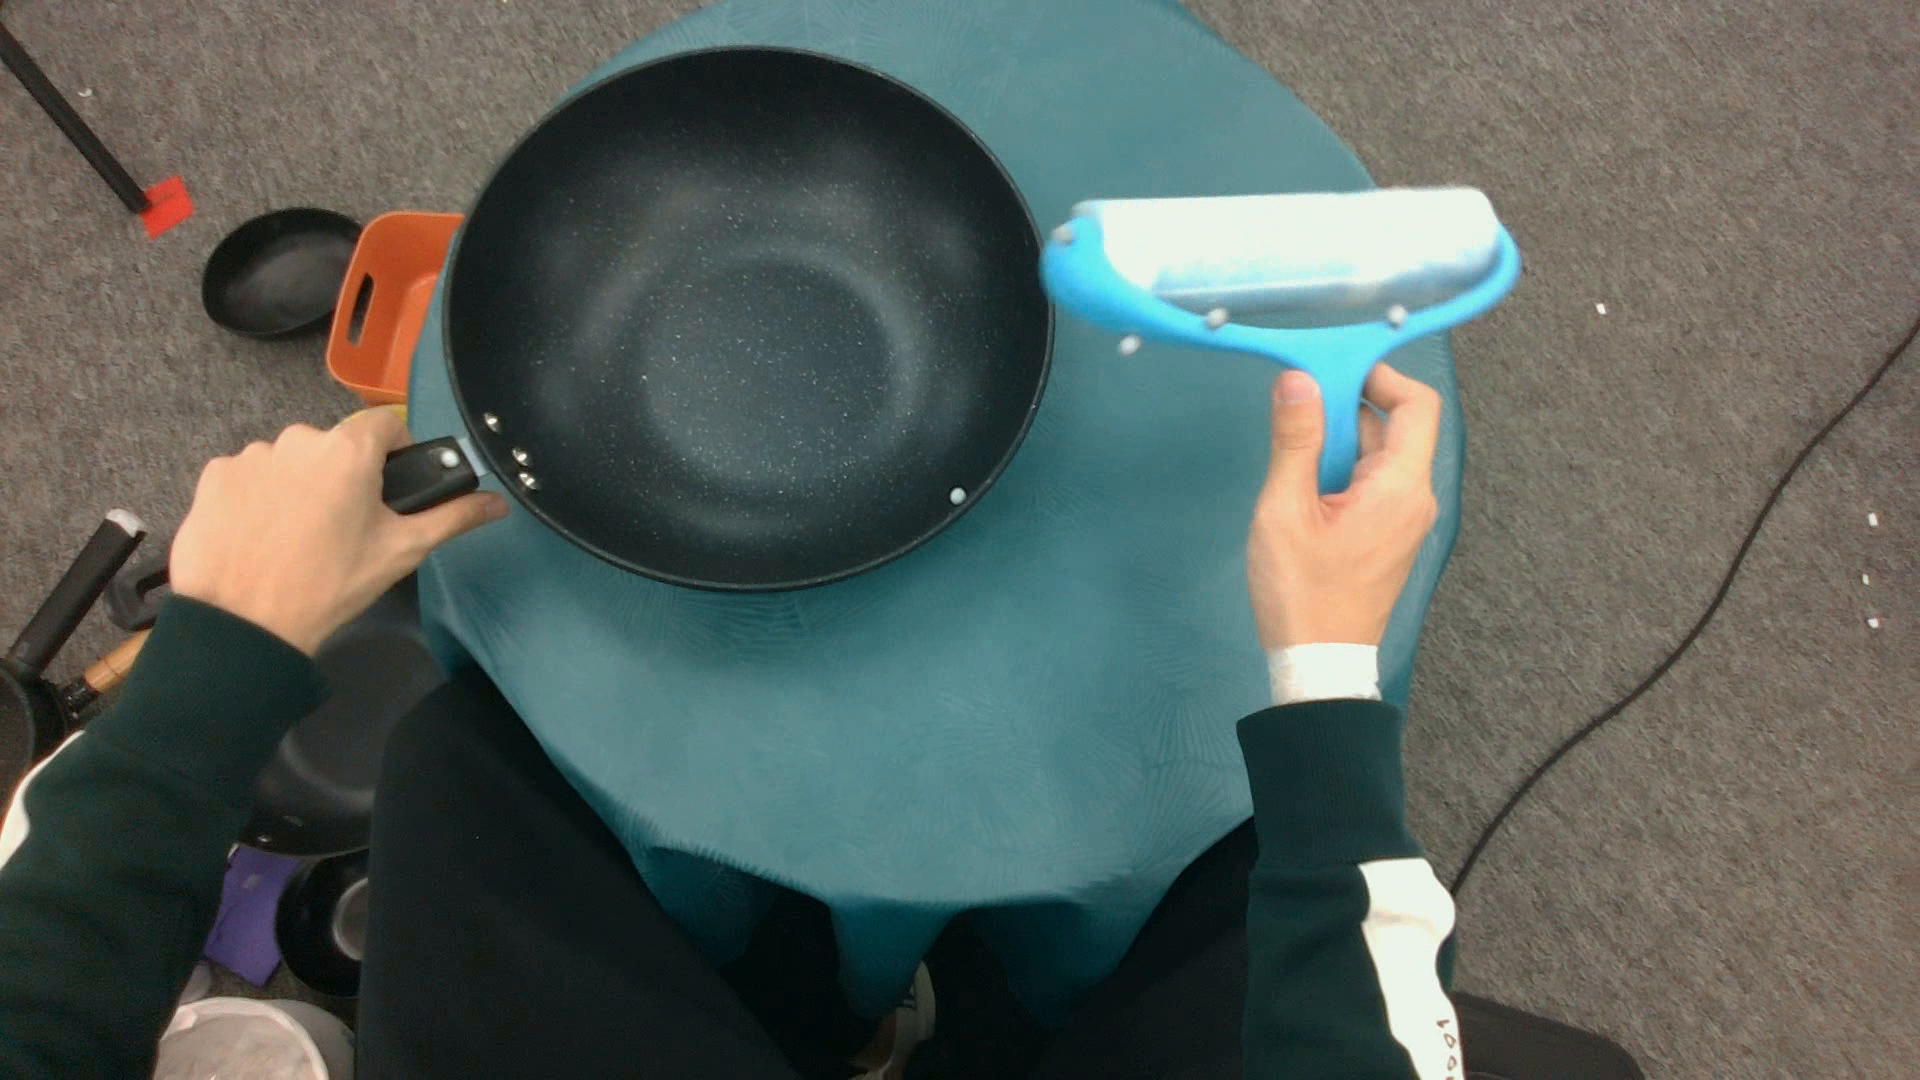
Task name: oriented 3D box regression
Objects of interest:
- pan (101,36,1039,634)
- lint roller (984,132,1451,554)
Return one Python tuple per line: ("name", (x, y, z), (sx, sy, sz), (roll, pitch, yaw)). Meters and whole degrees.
("pan", (-0.183, -0.076, 0.709), (0.478, 0.111, 0.310), (-33, 77, -15))
("lint roller", (0.136, -0.085, 0.613), (0.229, 0.067, 0.180), (-17, 86, -22))
